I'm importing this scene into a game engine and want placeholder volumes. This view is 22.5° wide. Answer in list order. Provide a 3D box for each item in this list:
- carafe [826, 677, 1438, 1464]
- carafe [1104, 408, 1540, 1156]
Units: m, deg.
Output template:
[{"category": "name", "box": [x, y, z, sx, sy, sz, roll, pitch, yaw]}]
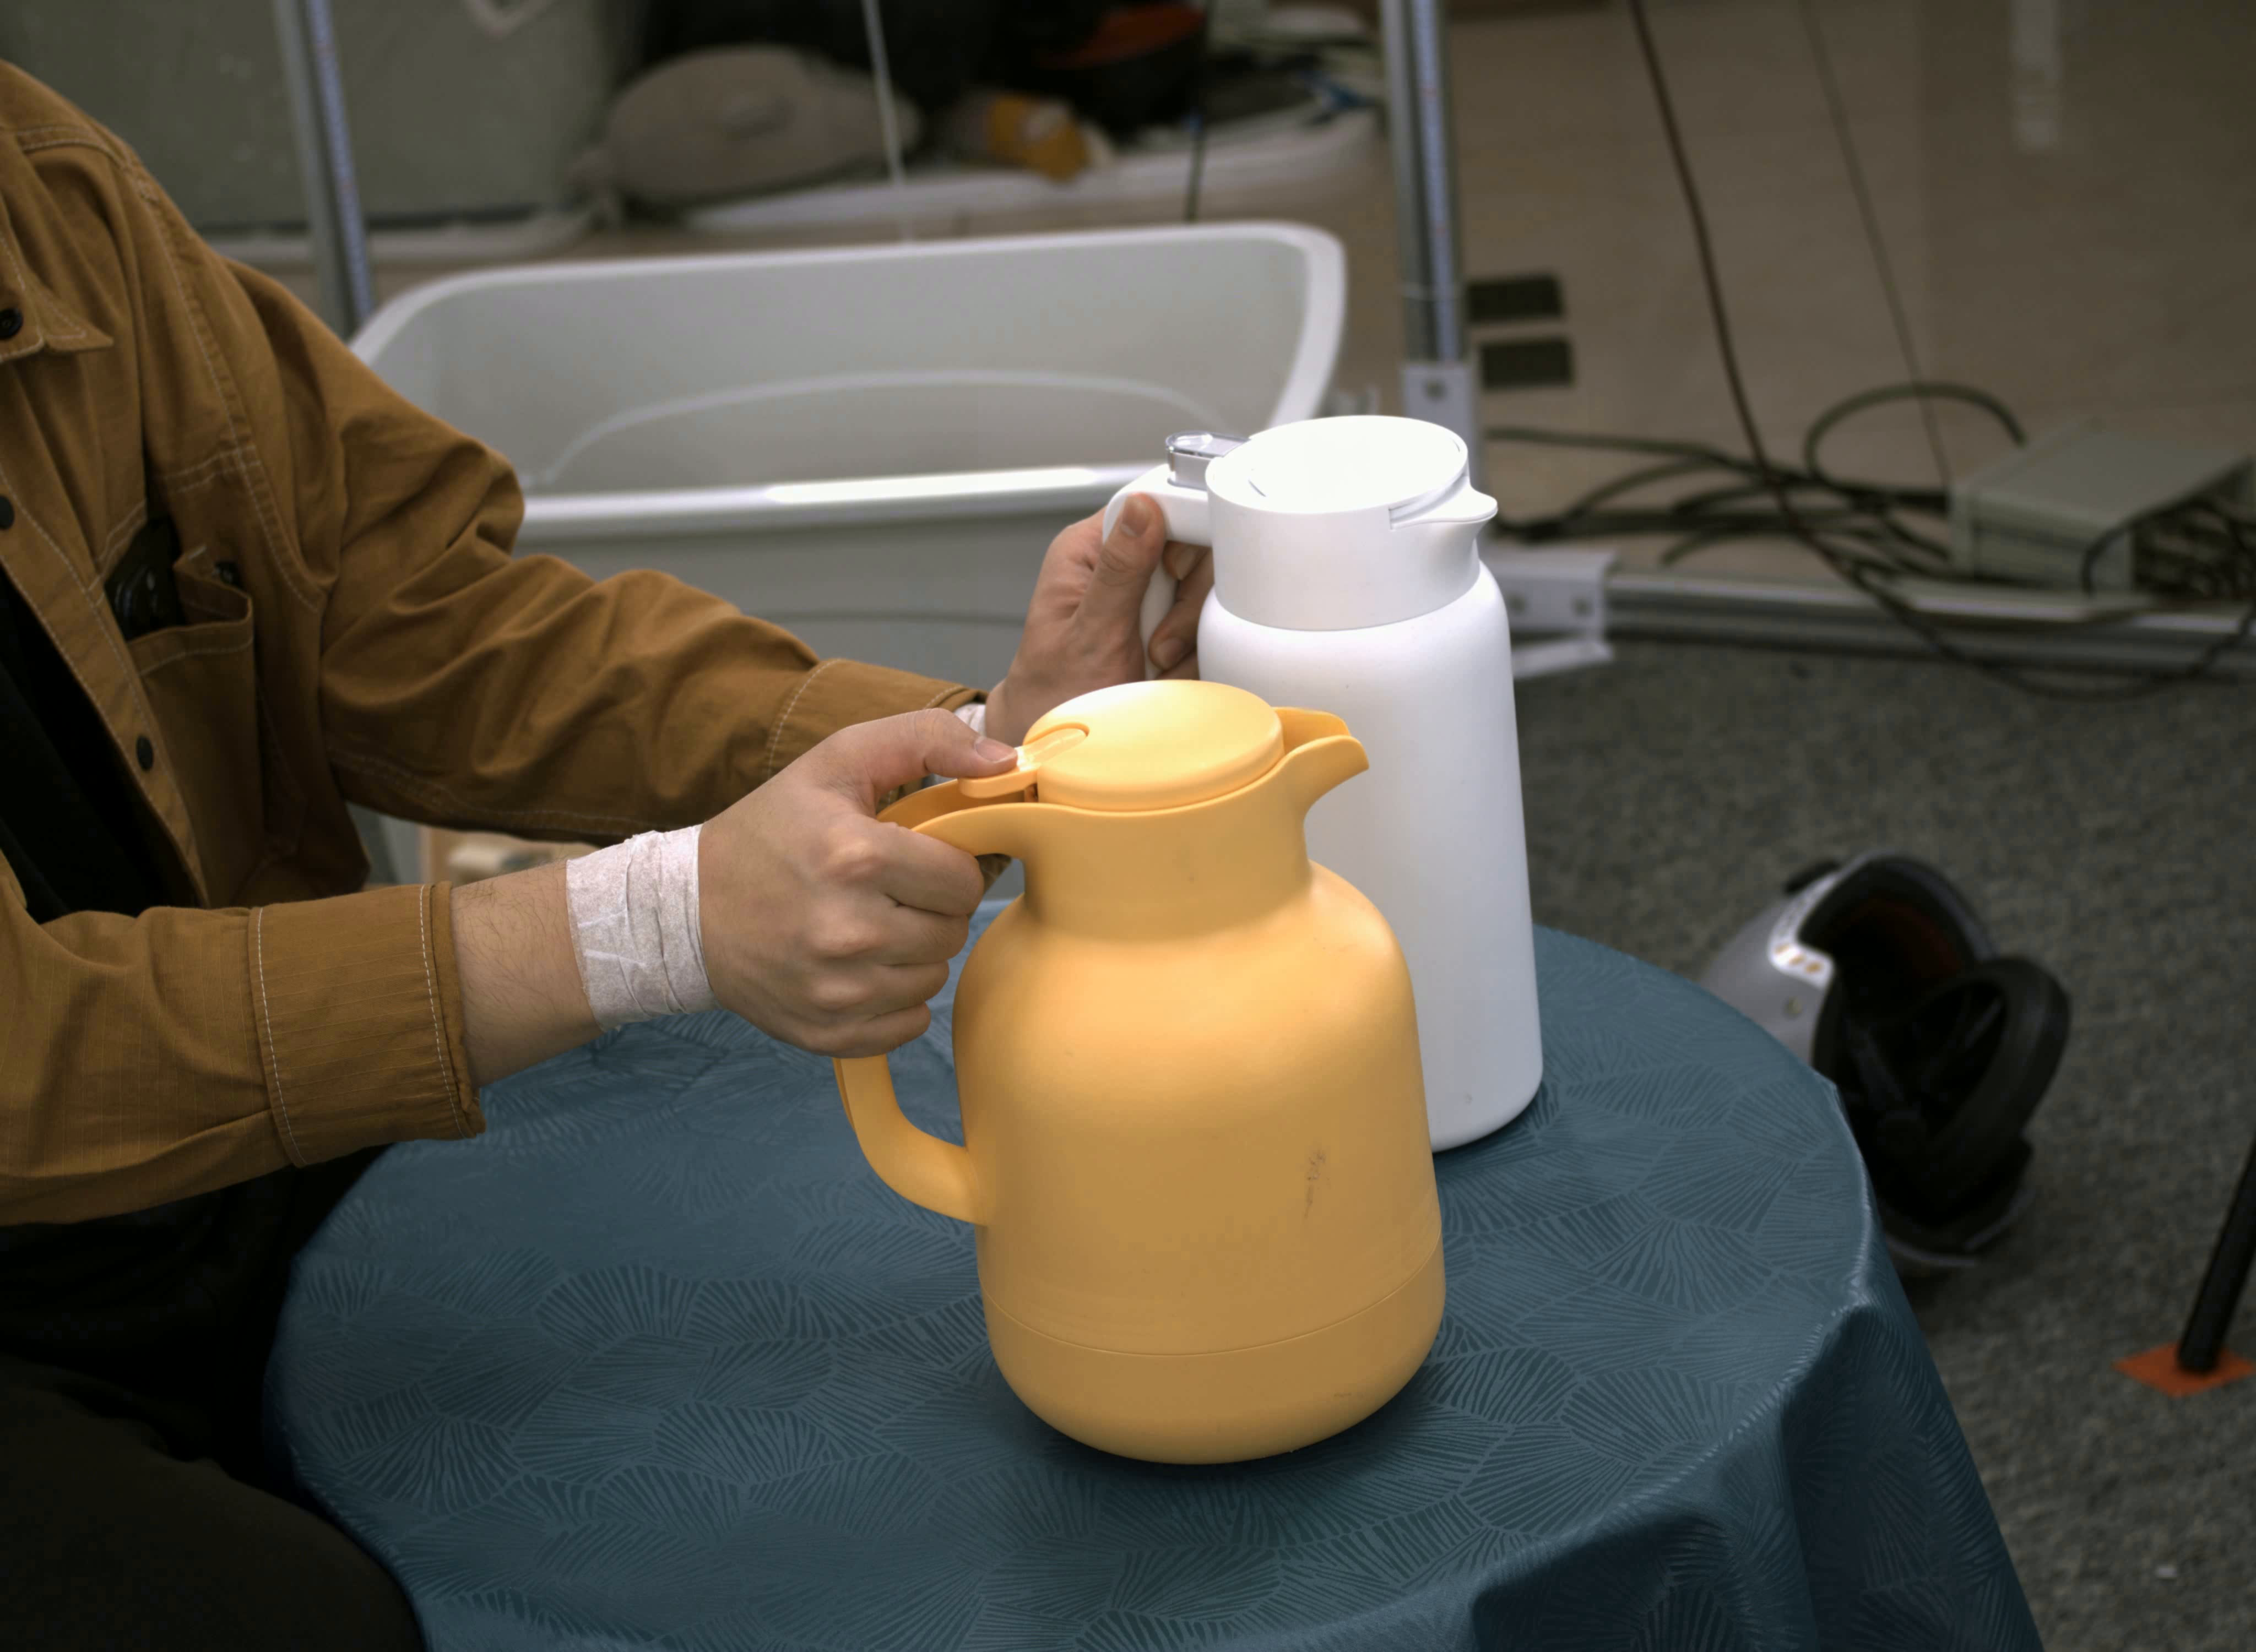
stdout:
[{"category": "carafe", "box": [0.001, 0.082, 1.956, 0.202, 0.264, 0.161, -9, 23, -8]}, {"category": "carafe", "box": [0.075, -0.017, 2.145, 0.172, 0.273, 0.122, 12, 33, 33]}]
